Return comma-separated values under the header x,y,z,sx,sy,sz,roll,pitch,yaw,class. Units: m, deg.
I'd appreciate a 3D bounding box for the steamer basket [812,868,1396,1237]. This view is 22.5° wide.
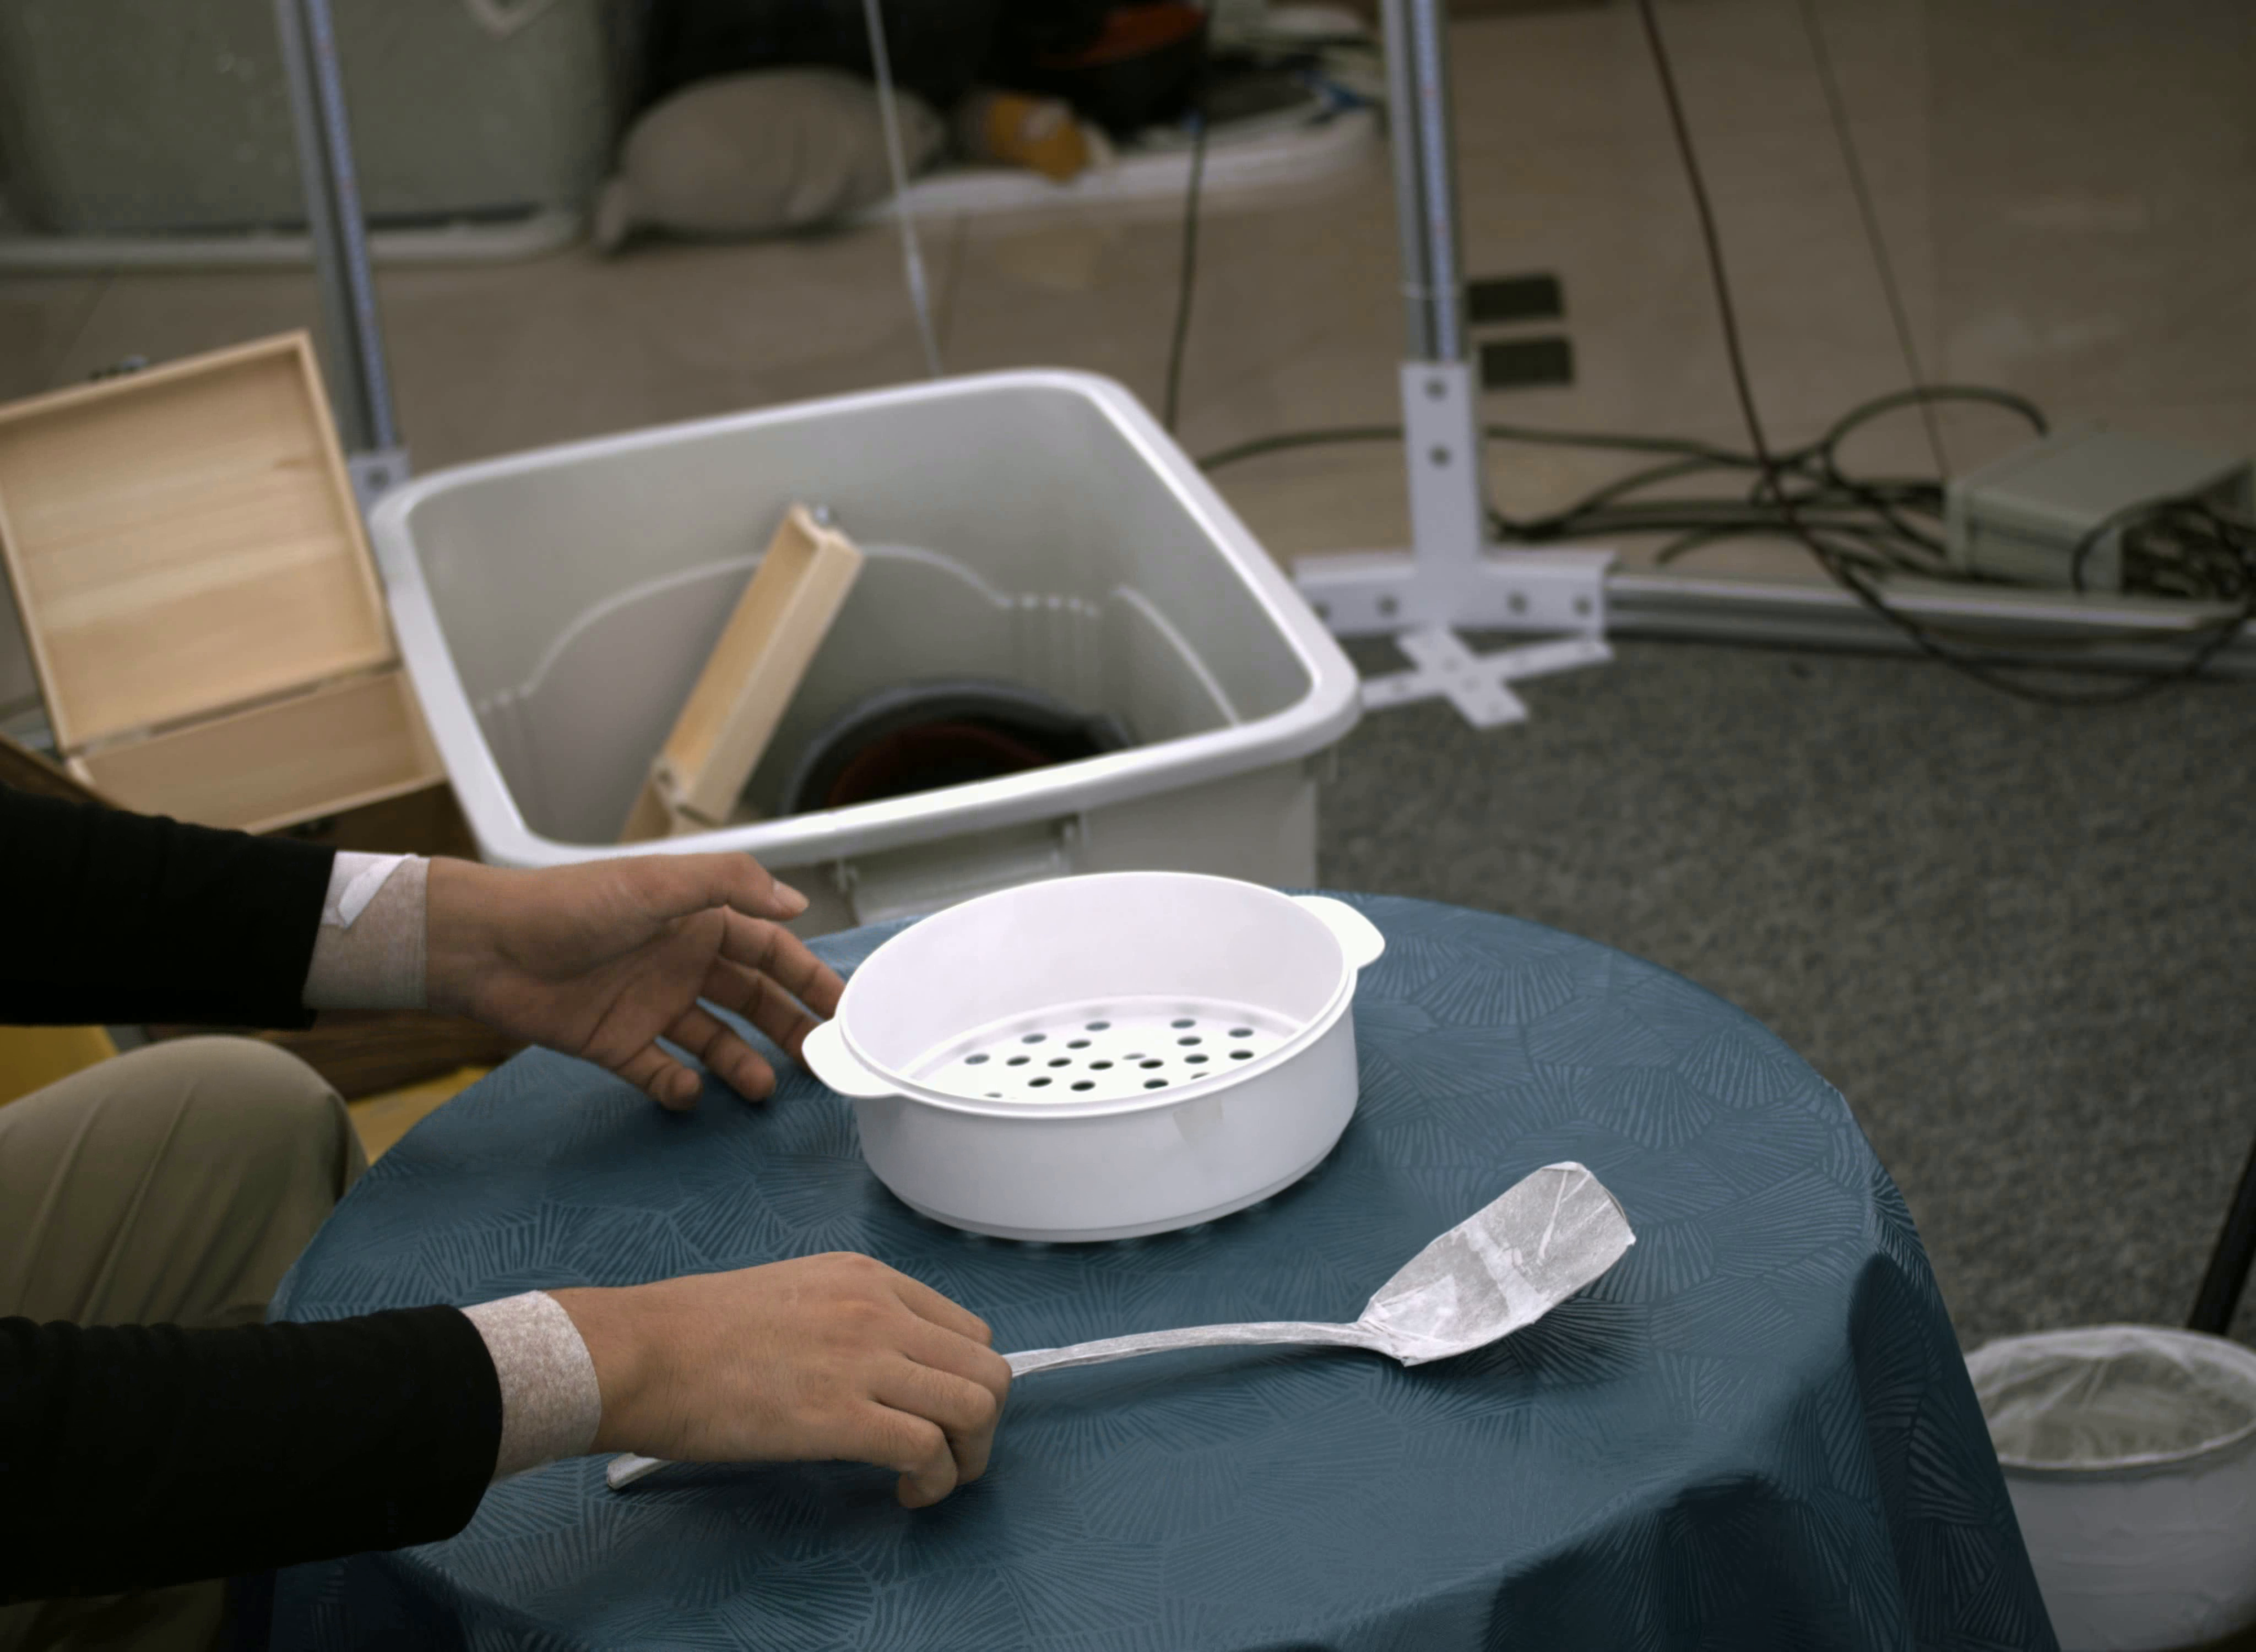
x,y,z,sx,sy,sz,roll,pitch,yaw,class
-0.005,0.088,2.176,0.230,0.070,0.199,-15,25,-16,steamer basket

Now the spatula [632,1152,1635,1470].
x,y,z,sx,sy,sz,roll,pitch,yaw,class
0.001,0.180,2.014,0.364,0.045,0.097,-9,24,-6,spatula
